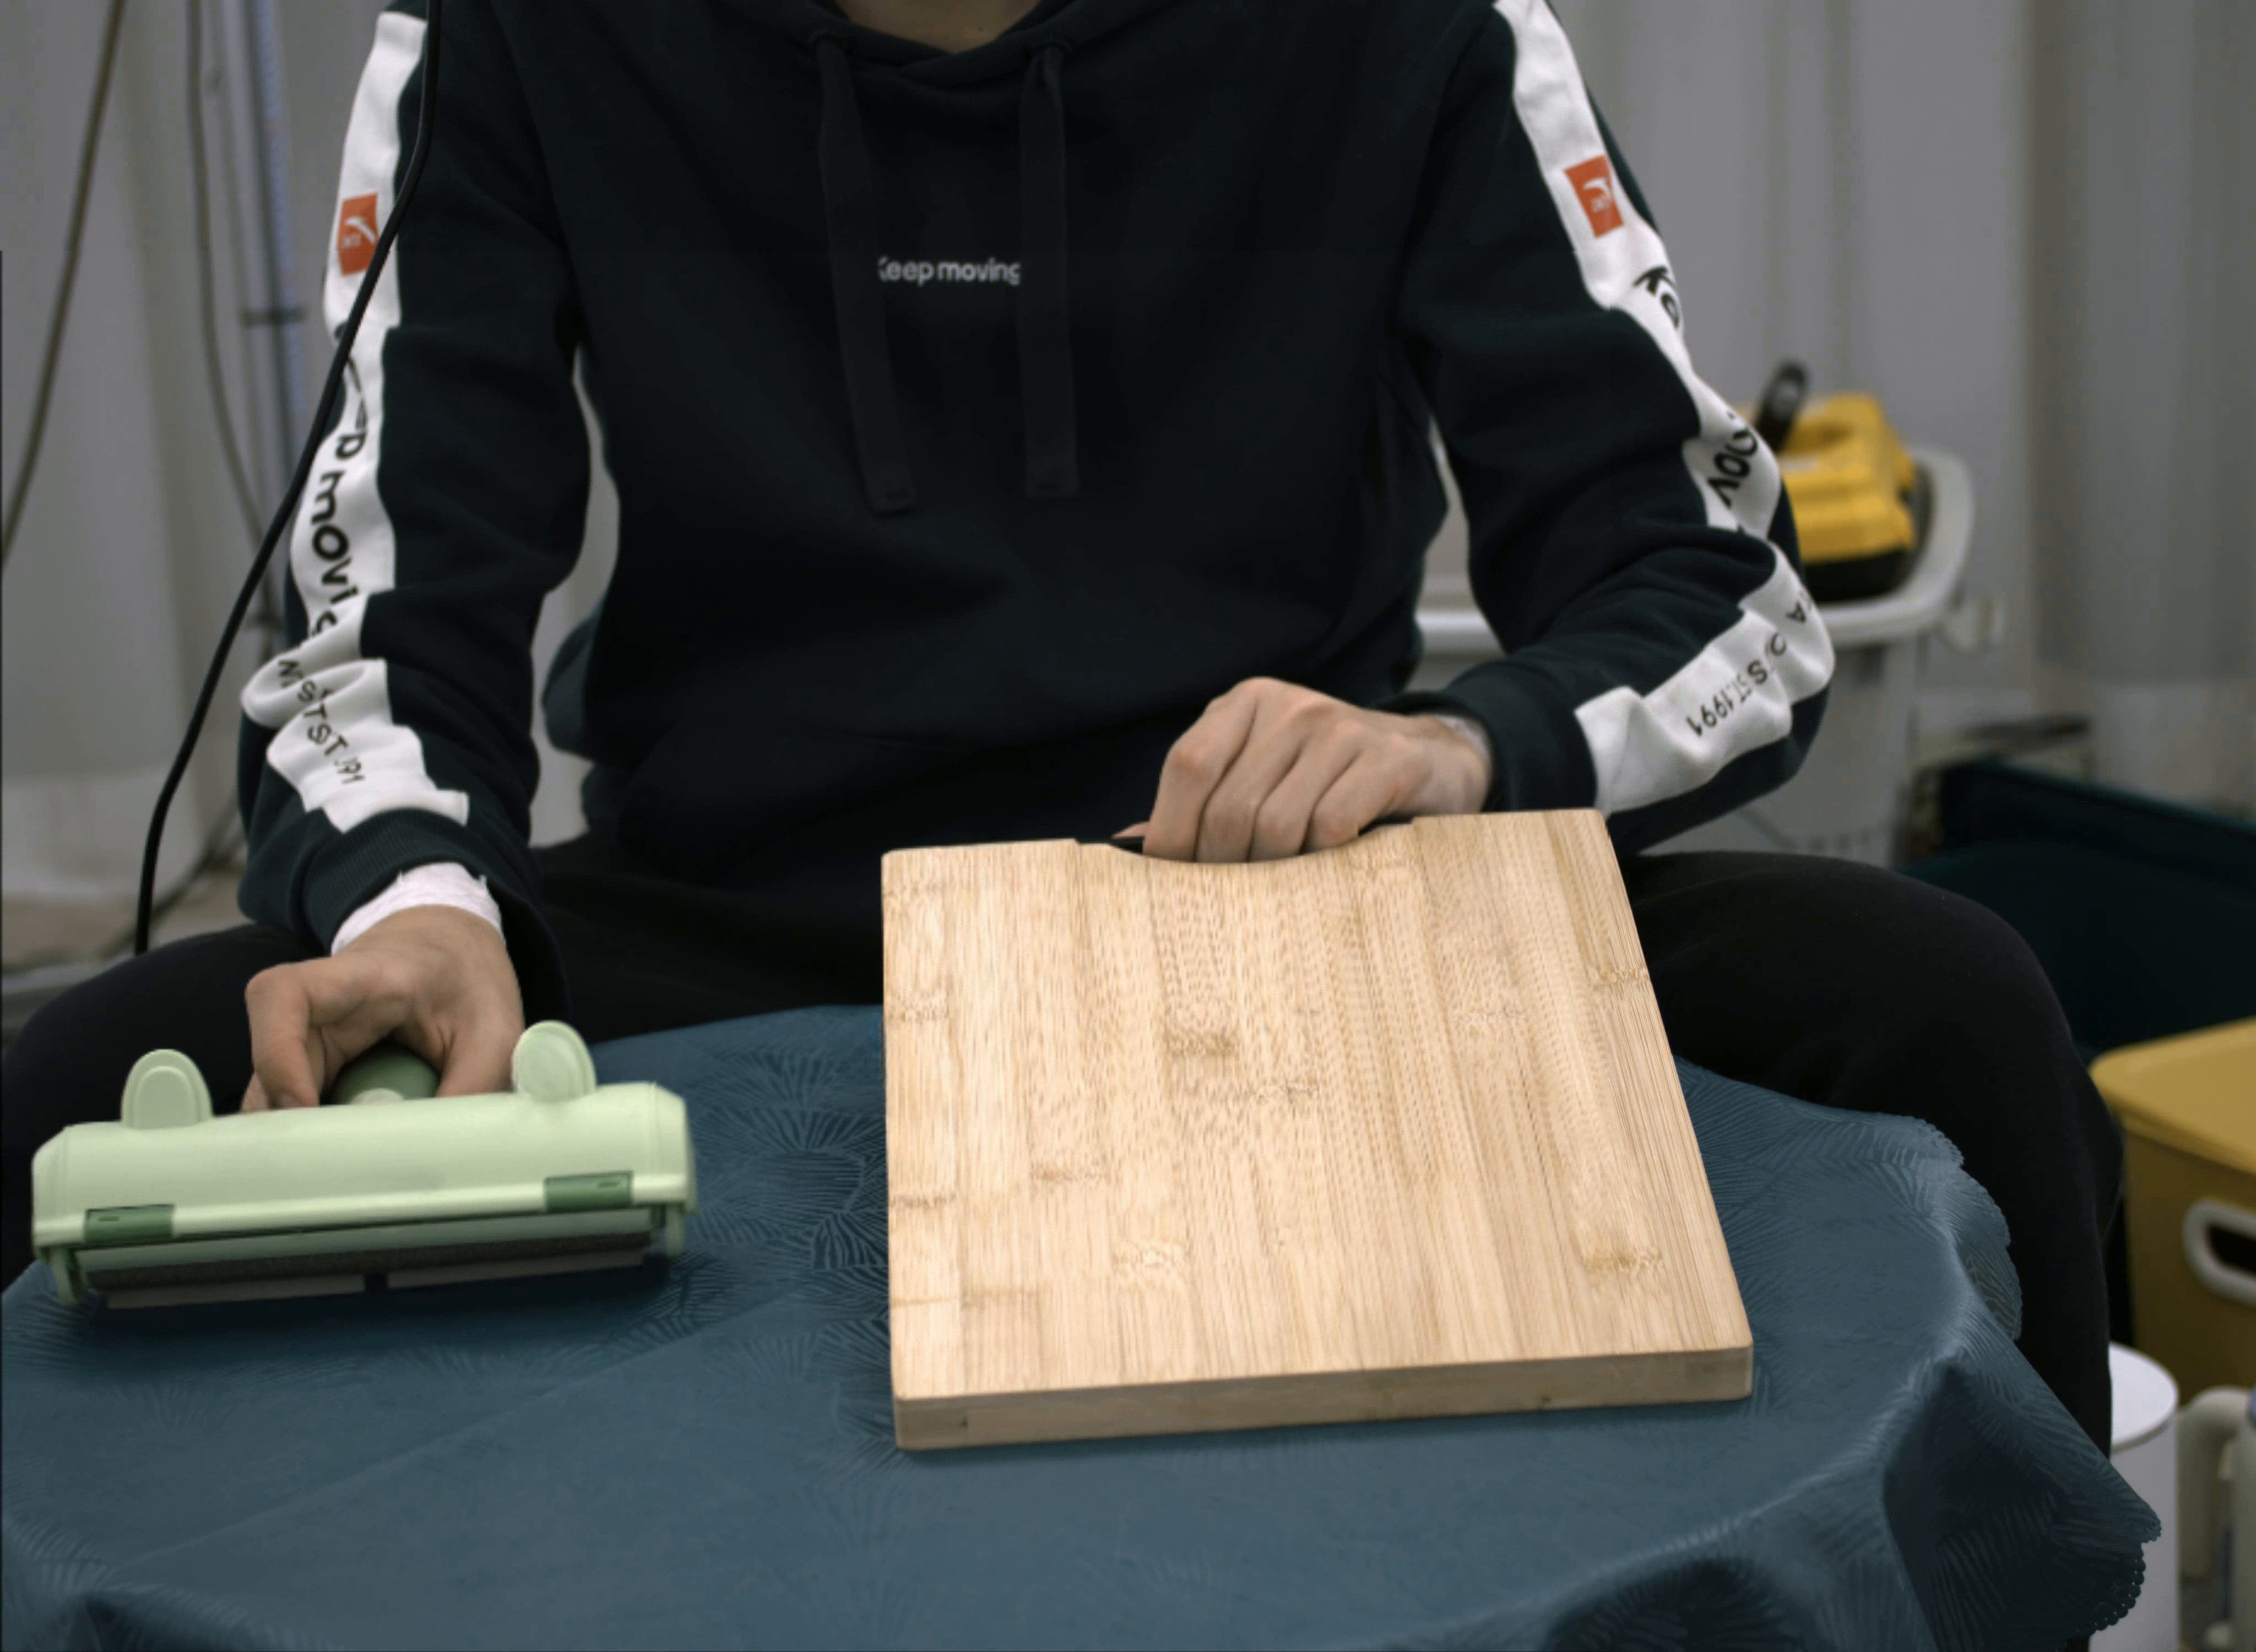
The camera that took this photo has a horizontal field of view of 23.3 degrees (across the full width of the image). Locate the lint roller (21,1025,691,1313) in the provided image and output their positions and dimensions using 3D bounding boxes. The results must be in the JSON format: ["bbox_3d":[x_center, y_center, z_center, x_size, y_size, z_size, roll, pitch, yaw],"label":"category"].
[{"bbox_3d":[-0.235,0.085,1.699,0.198,0.081,0.185,-4,22,-2],"label":"lint roller"}]

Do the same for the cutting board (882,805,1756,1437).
[{"bbox_3d":[0.047,0.083,1.665,0.250,0.023,0.353,-4,26,-2],"label":"cutting board"}]
